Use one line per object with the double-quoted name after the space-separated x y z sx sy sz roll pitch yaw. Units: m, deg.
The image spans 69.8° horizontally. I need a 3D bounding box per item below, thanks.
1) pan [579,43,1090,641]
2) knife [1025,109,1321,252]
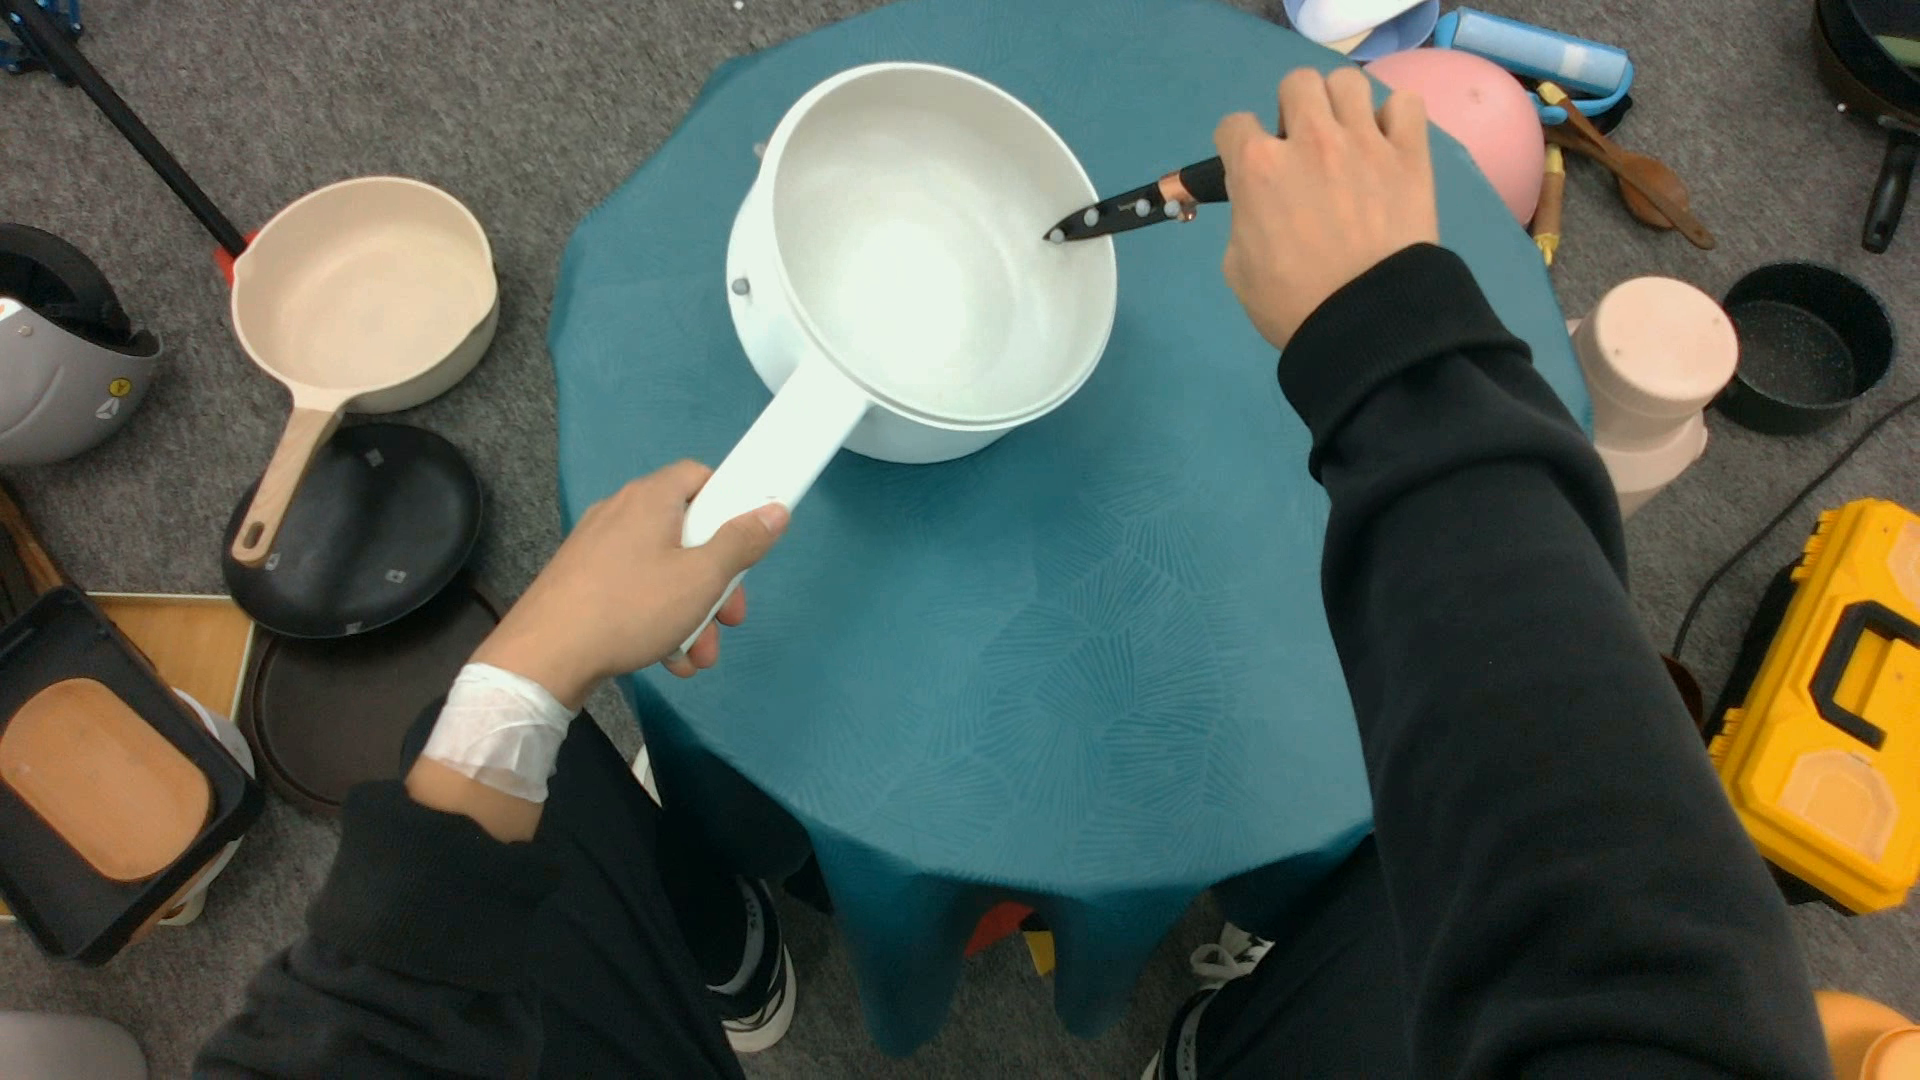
-0.076 -0.094 0.708 0.201 0.101 0.356 39 64 -14 "pan"
0.094 -0.175 0.688 0.026 0.225 0.017 48 65 -21 "knife"
